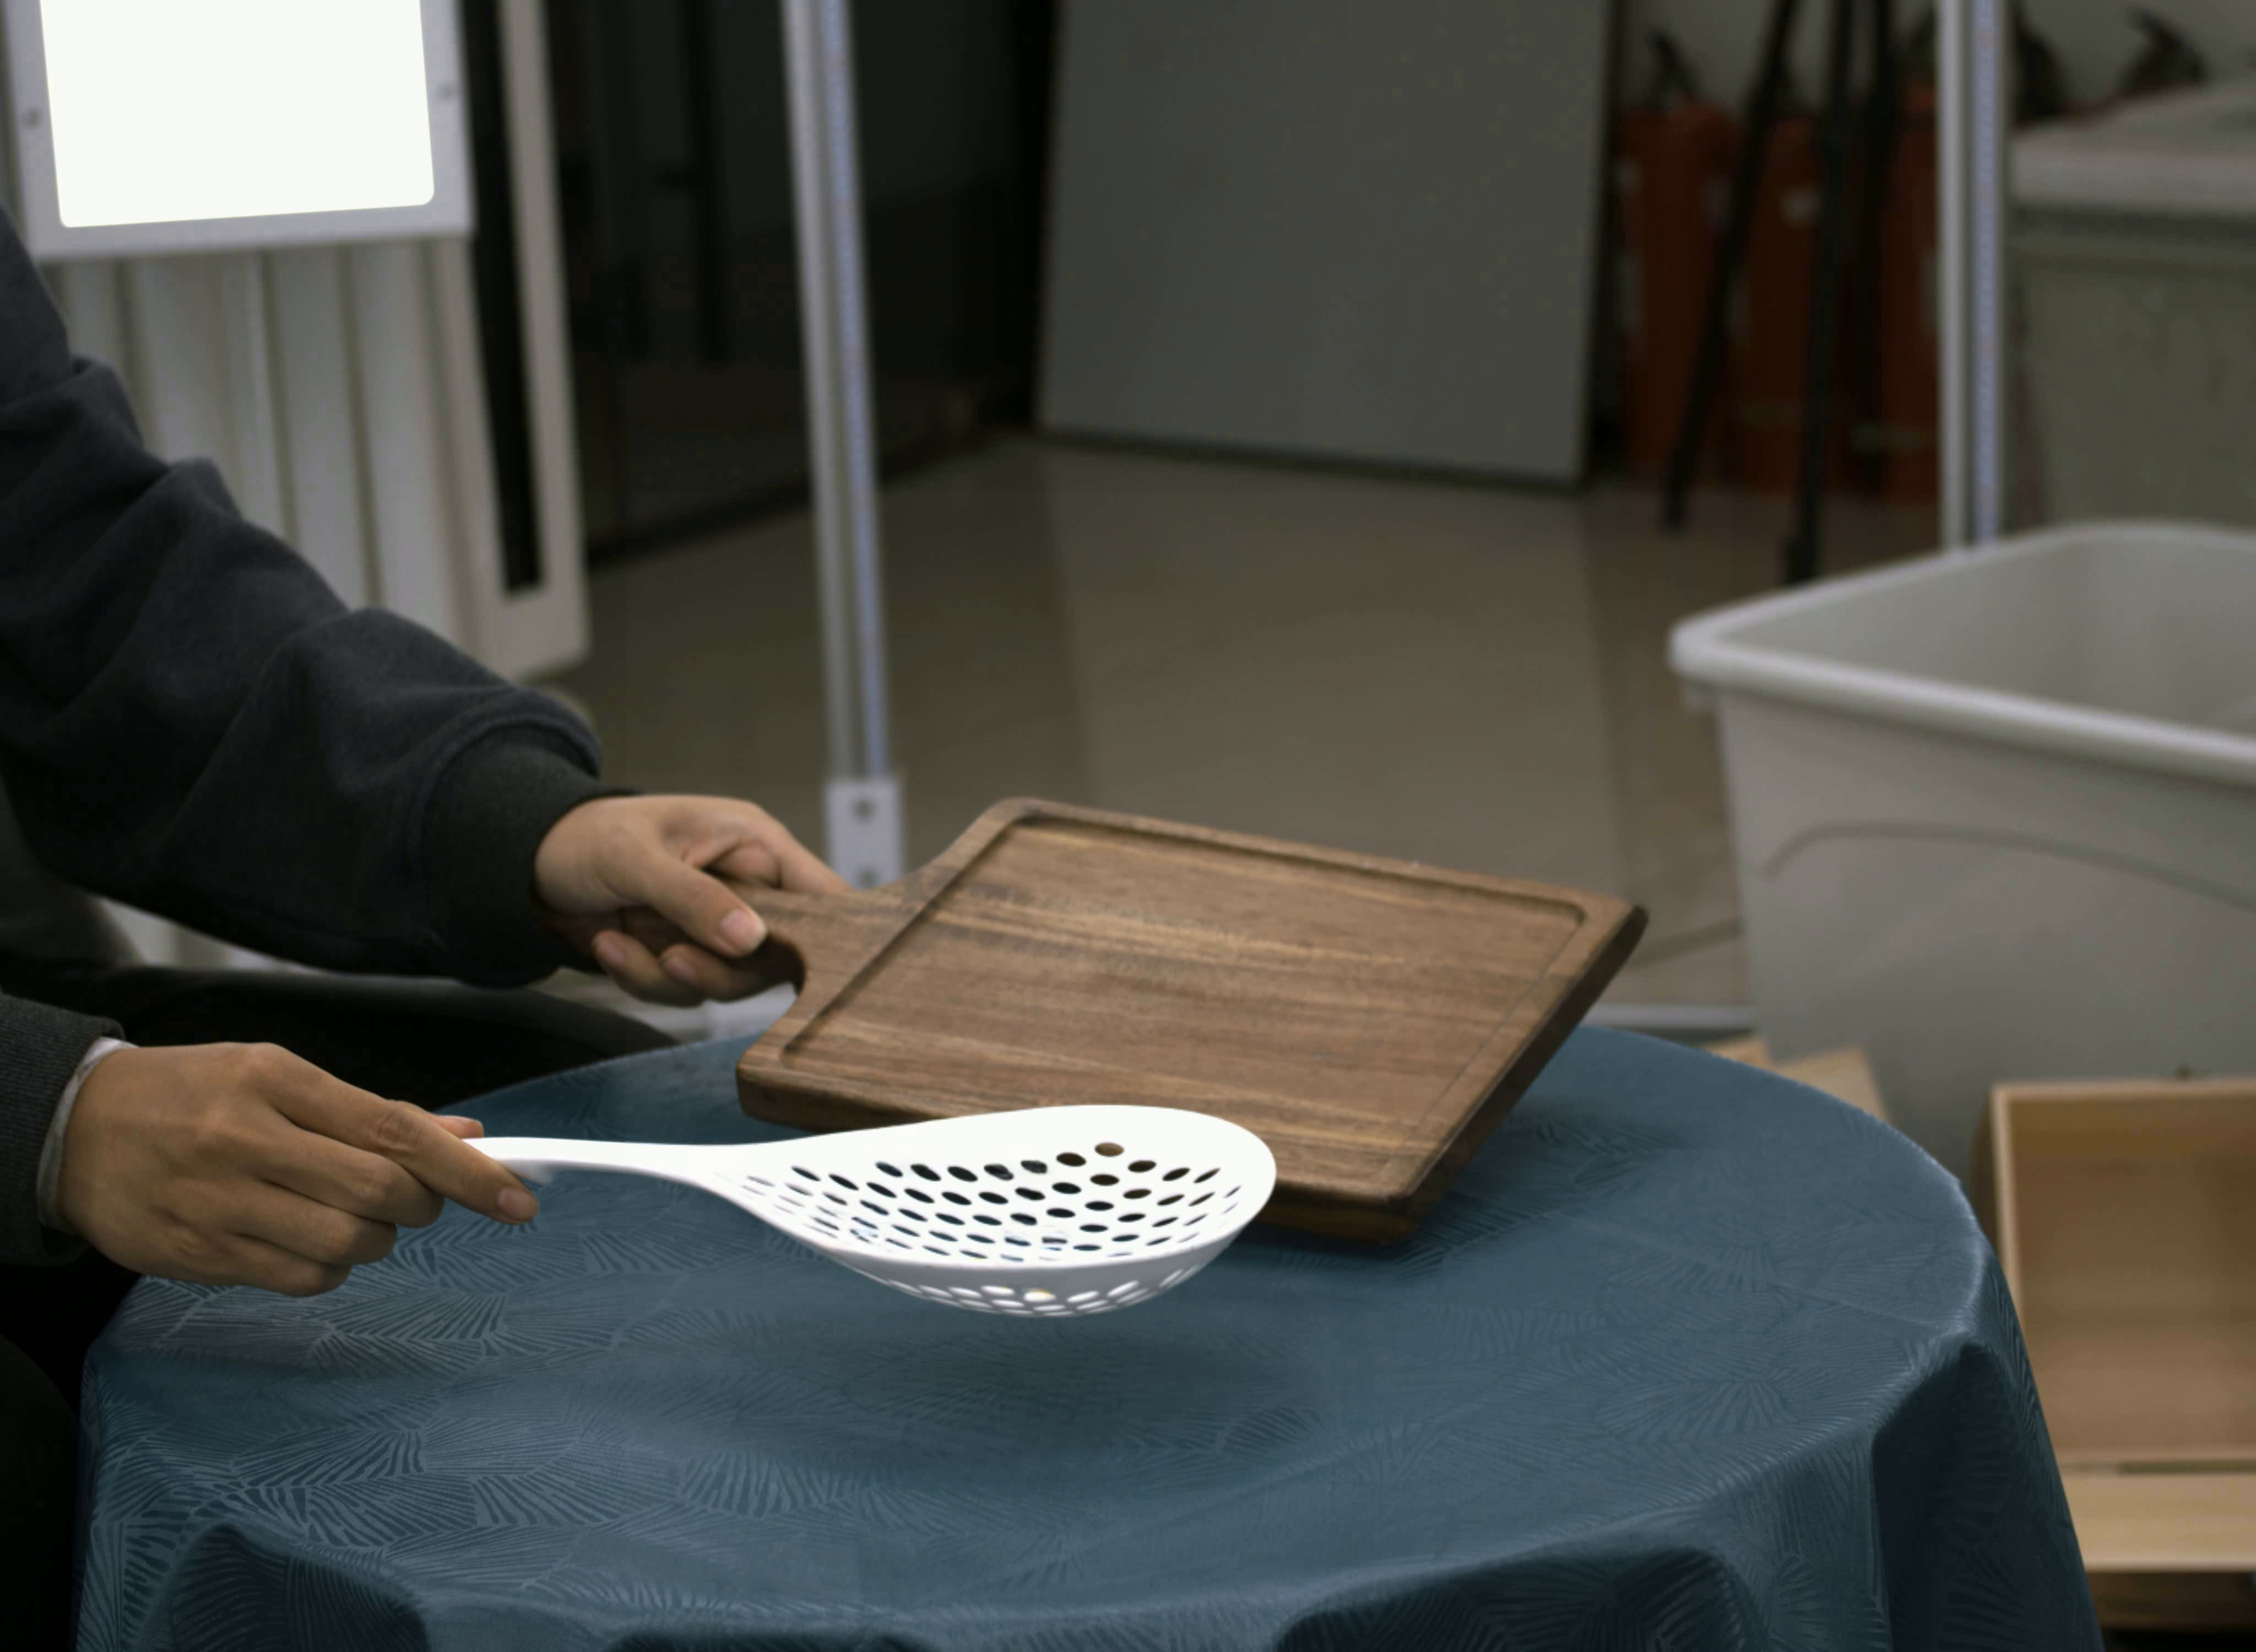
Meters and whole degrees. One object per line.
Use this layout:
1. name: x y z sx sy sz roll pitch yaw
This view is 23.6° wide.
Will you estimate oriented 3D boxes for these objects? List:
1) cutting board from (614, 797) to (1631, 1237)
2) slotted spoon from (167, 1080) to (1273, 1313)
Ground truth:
1. cutting board: -0.023 0.052 1.827 0.353 0.023 0.199 9 33 28
2. slotted spoon: -0.126 0.111 1.628 0.346 0.051 0.136 5 19 15
